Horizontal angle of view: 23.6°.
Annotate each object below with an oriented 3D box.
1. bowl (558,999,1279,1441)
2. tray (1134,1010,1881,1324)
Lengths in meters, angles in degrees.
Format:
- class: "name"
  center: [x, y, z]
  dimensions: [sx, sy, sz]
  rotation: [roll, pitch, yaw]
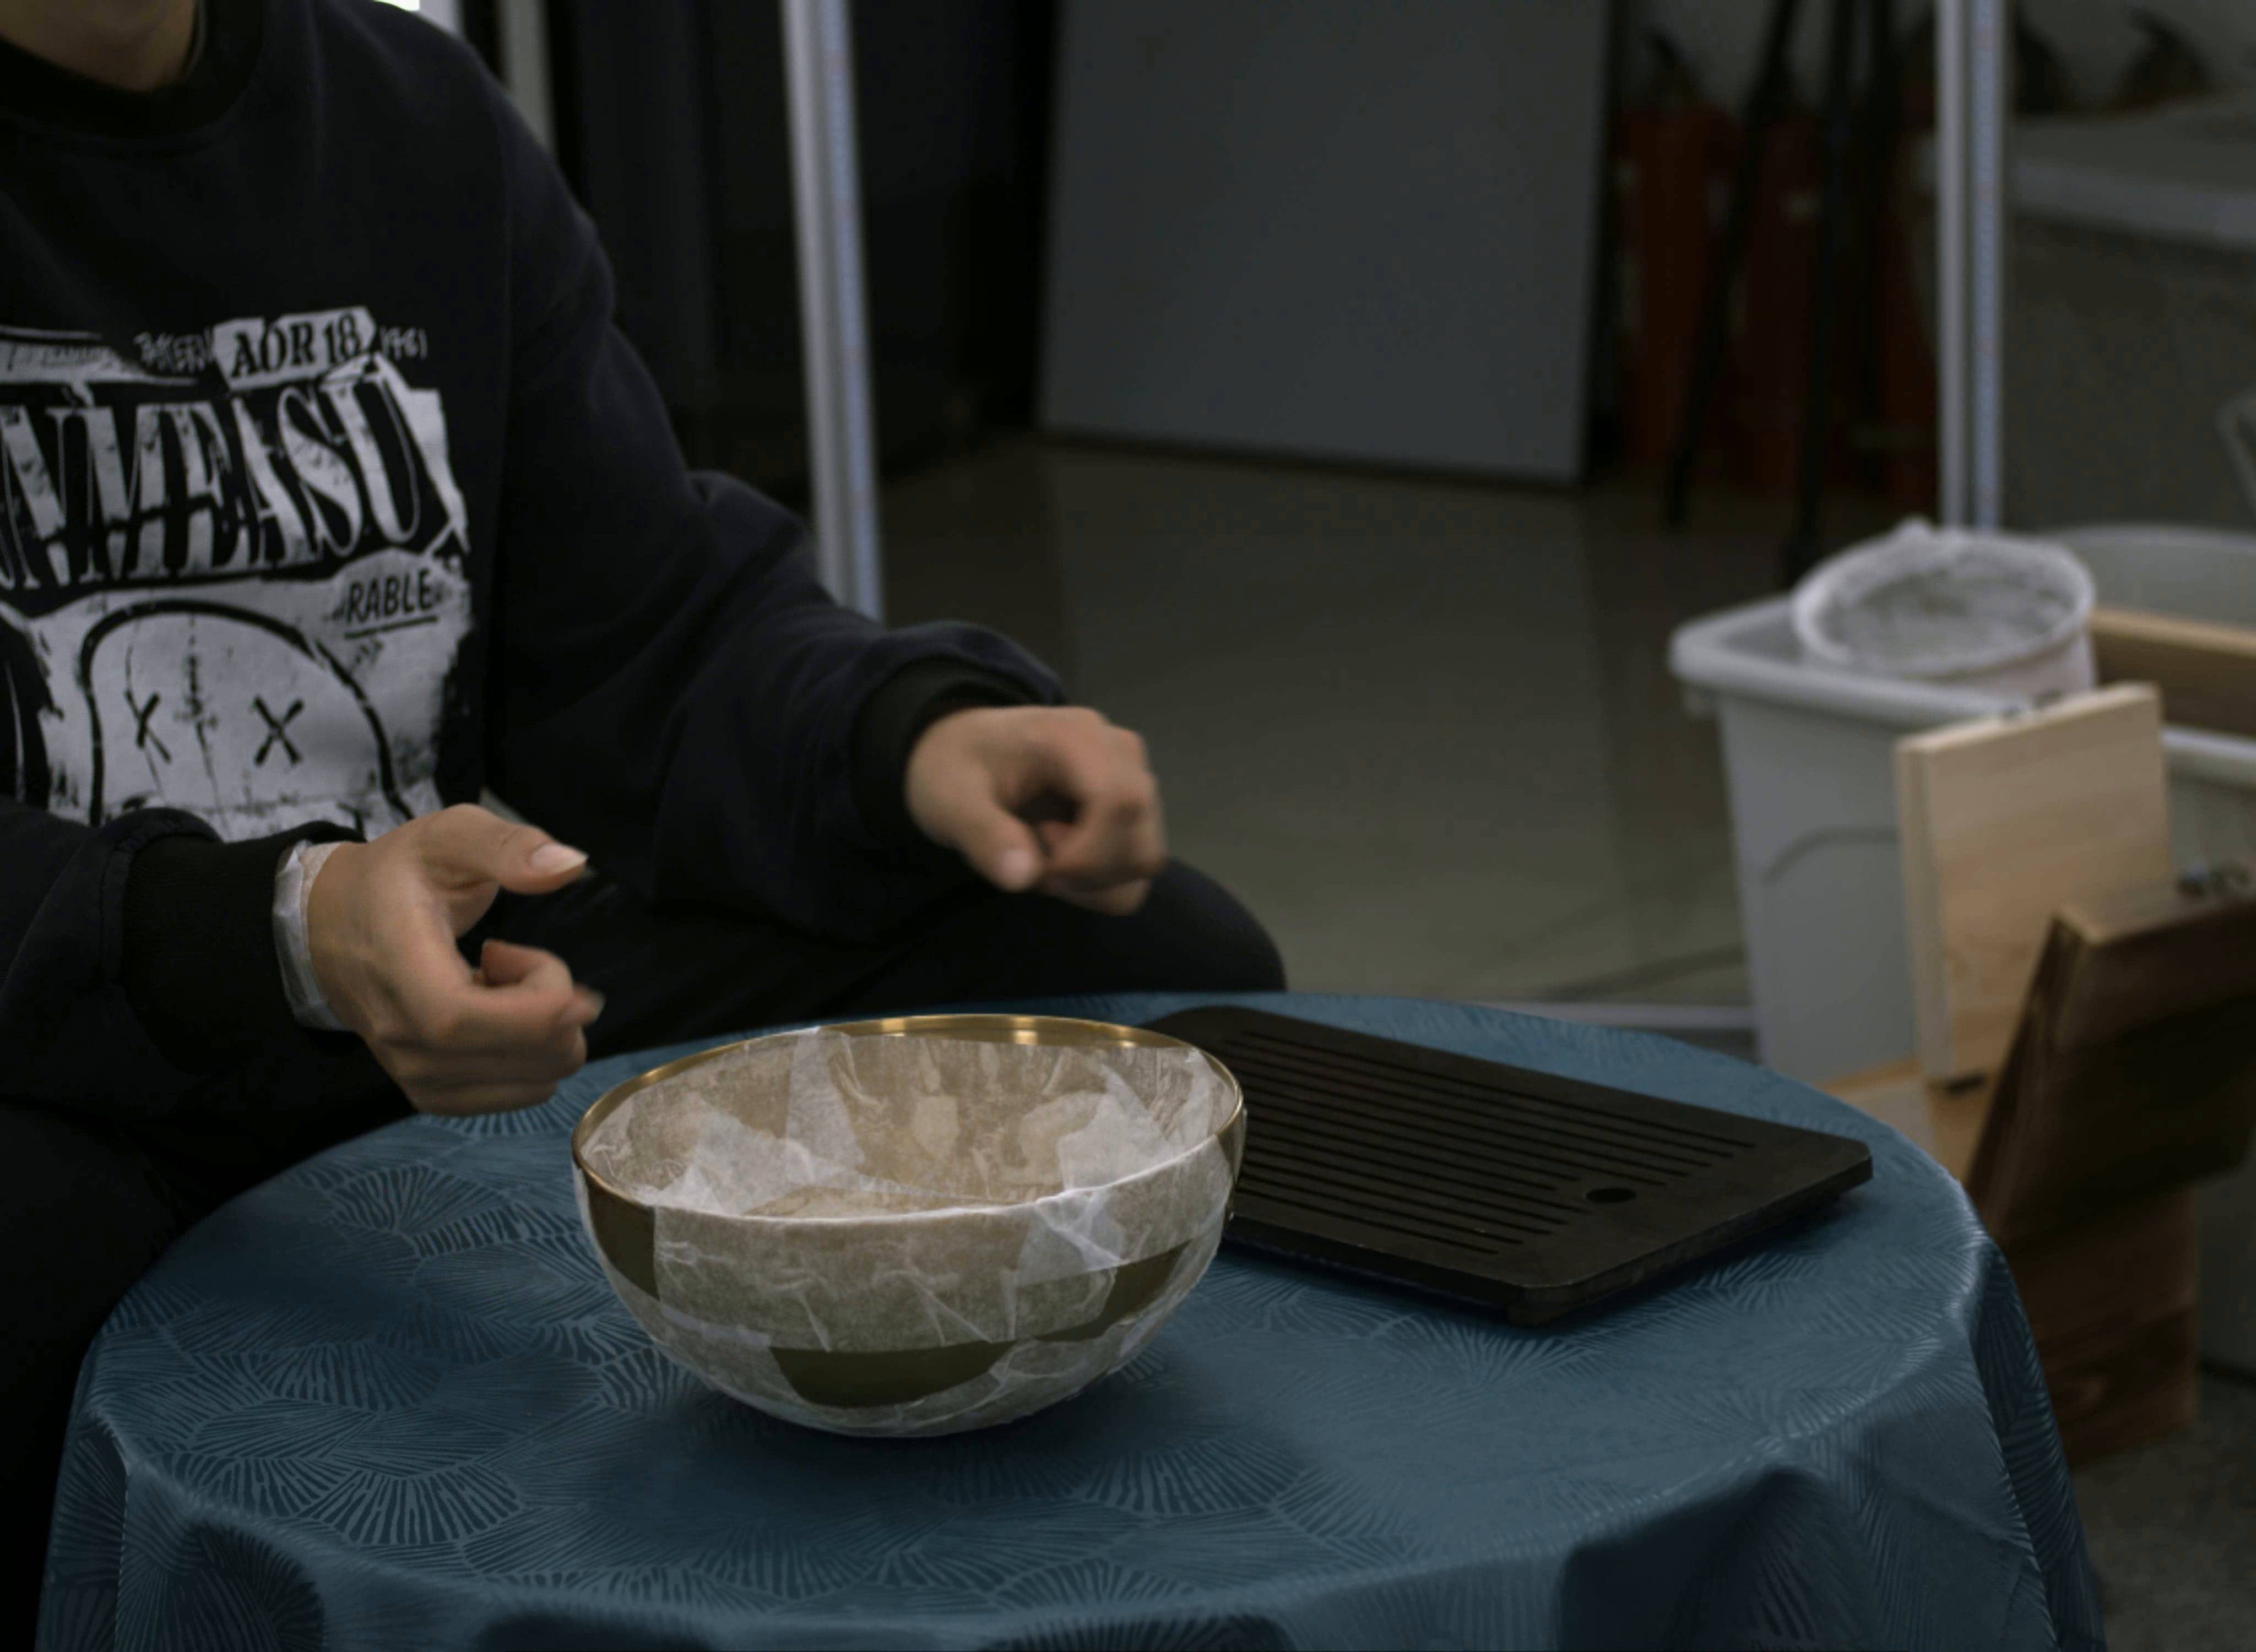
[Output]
- class: "bowl"
  center: [-0.060, 0.124, 1.585]
  dimensions: [0.212, 0.095, 0.215]
  rotation: [-5, 14, 0]
- class: "tray"
  center: [0.081, 0.108, 1.763]
  dimensions: [0.166, 0.019, 0.309]
  rotation: [-17, 18, -42]
